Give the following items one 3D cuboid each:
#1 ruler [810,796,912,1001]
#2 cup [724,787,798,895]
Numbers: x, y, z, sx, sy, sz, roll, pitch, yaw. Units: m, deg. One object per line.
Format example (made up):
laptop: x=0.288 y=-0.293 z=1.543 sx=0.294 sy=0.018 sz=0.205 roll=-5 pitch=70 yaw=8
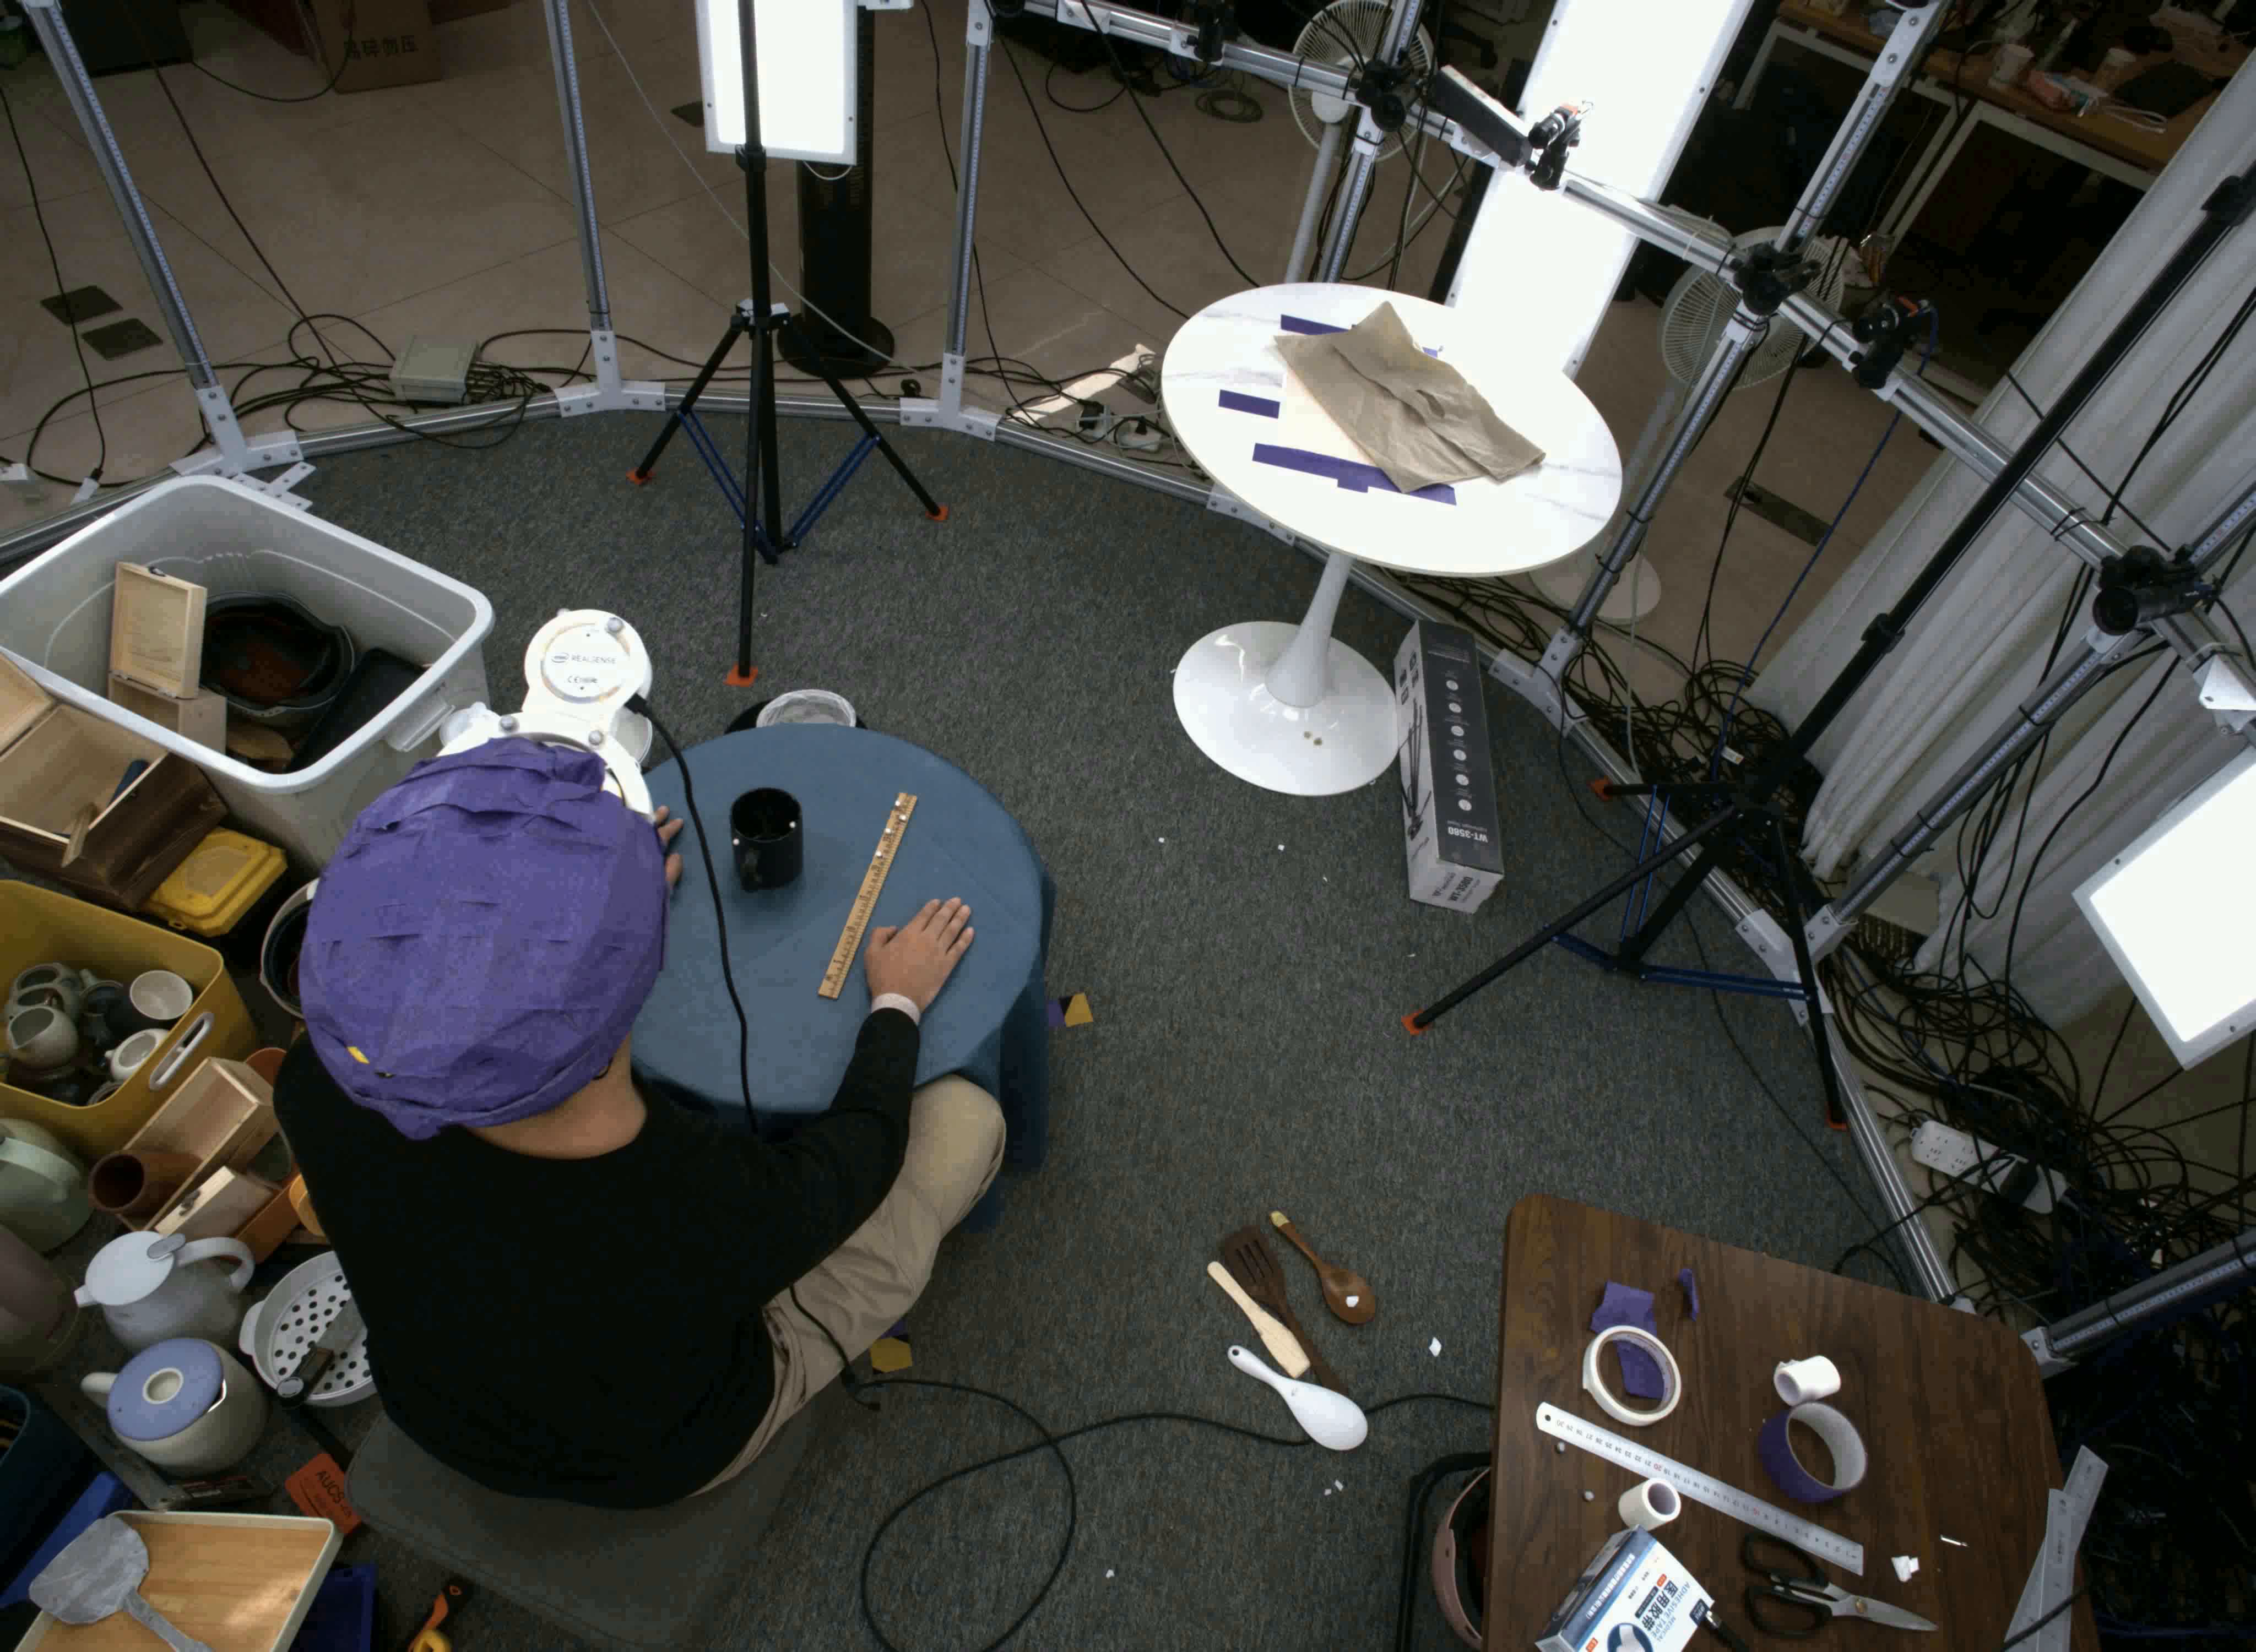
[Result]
ruler: x=-0.340 y=0.081 z=1.674 sx=0.027 sy=0.023 sz=0.327 roll=13 pitch=51 yaw=3
cup: x=-0.465 y=0.029 z=1.621 sx=0.088 sy=0.107 sz=0.122 roll=15 pitch=52 yaw=-3
